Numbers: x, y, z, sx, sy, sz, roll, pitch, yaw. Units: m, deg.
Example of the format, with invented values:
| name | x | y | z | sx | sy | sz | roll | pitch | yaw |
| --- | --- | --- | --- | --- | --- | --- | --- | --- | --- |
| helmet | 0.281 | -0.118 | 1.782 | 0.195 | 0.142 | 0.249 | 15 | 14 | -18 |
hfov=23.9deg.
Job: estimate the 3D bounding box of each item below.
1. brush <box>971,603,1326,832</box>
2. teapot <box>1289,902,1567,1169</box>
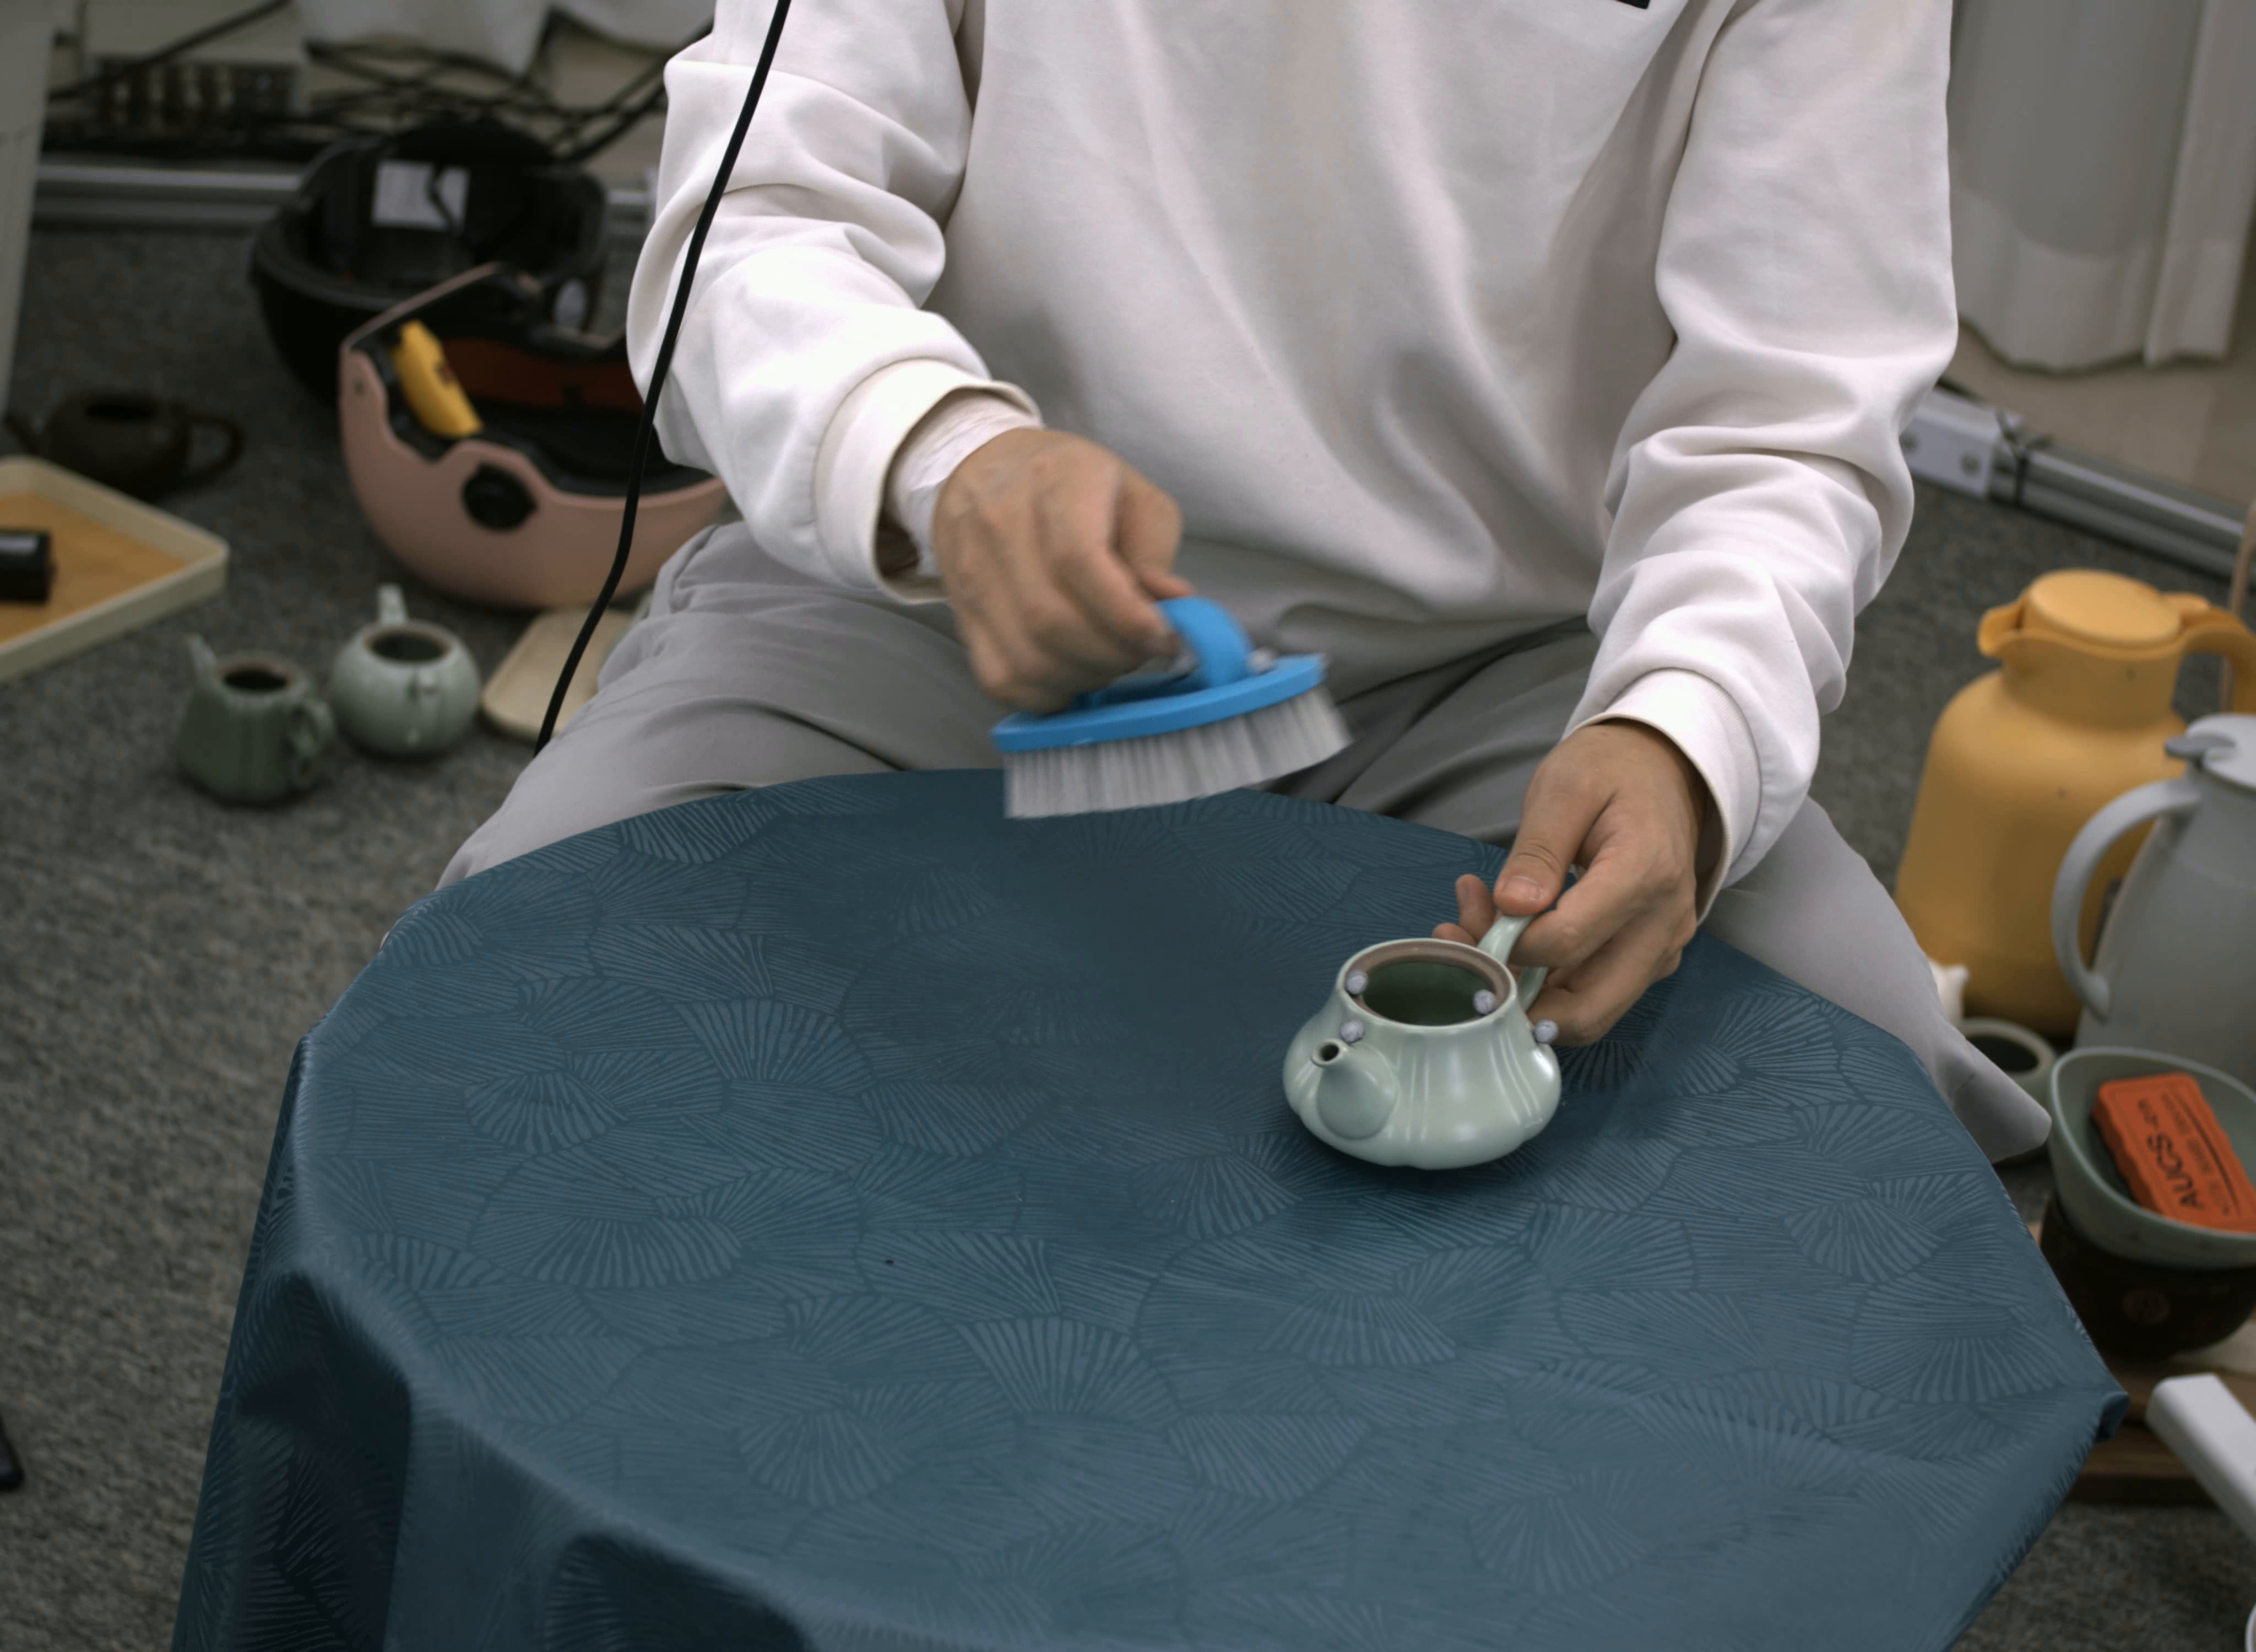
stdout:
| name | x | y | z | sx | sy | sz | roll | pitch | yaw |
| --- | --- | --- | --- | --- | --- | --- | --- | --- | --- |
| brush | 0.001 | -0.042 | 1.831 | 0.084 | 0.064 | 0.142 | -26 | 12 | -38 |
| teapot | 0.107 | 0.076 | 1.851 | 0.097 | 0.061 | 0.136 | 18 | 34 | 32 |
